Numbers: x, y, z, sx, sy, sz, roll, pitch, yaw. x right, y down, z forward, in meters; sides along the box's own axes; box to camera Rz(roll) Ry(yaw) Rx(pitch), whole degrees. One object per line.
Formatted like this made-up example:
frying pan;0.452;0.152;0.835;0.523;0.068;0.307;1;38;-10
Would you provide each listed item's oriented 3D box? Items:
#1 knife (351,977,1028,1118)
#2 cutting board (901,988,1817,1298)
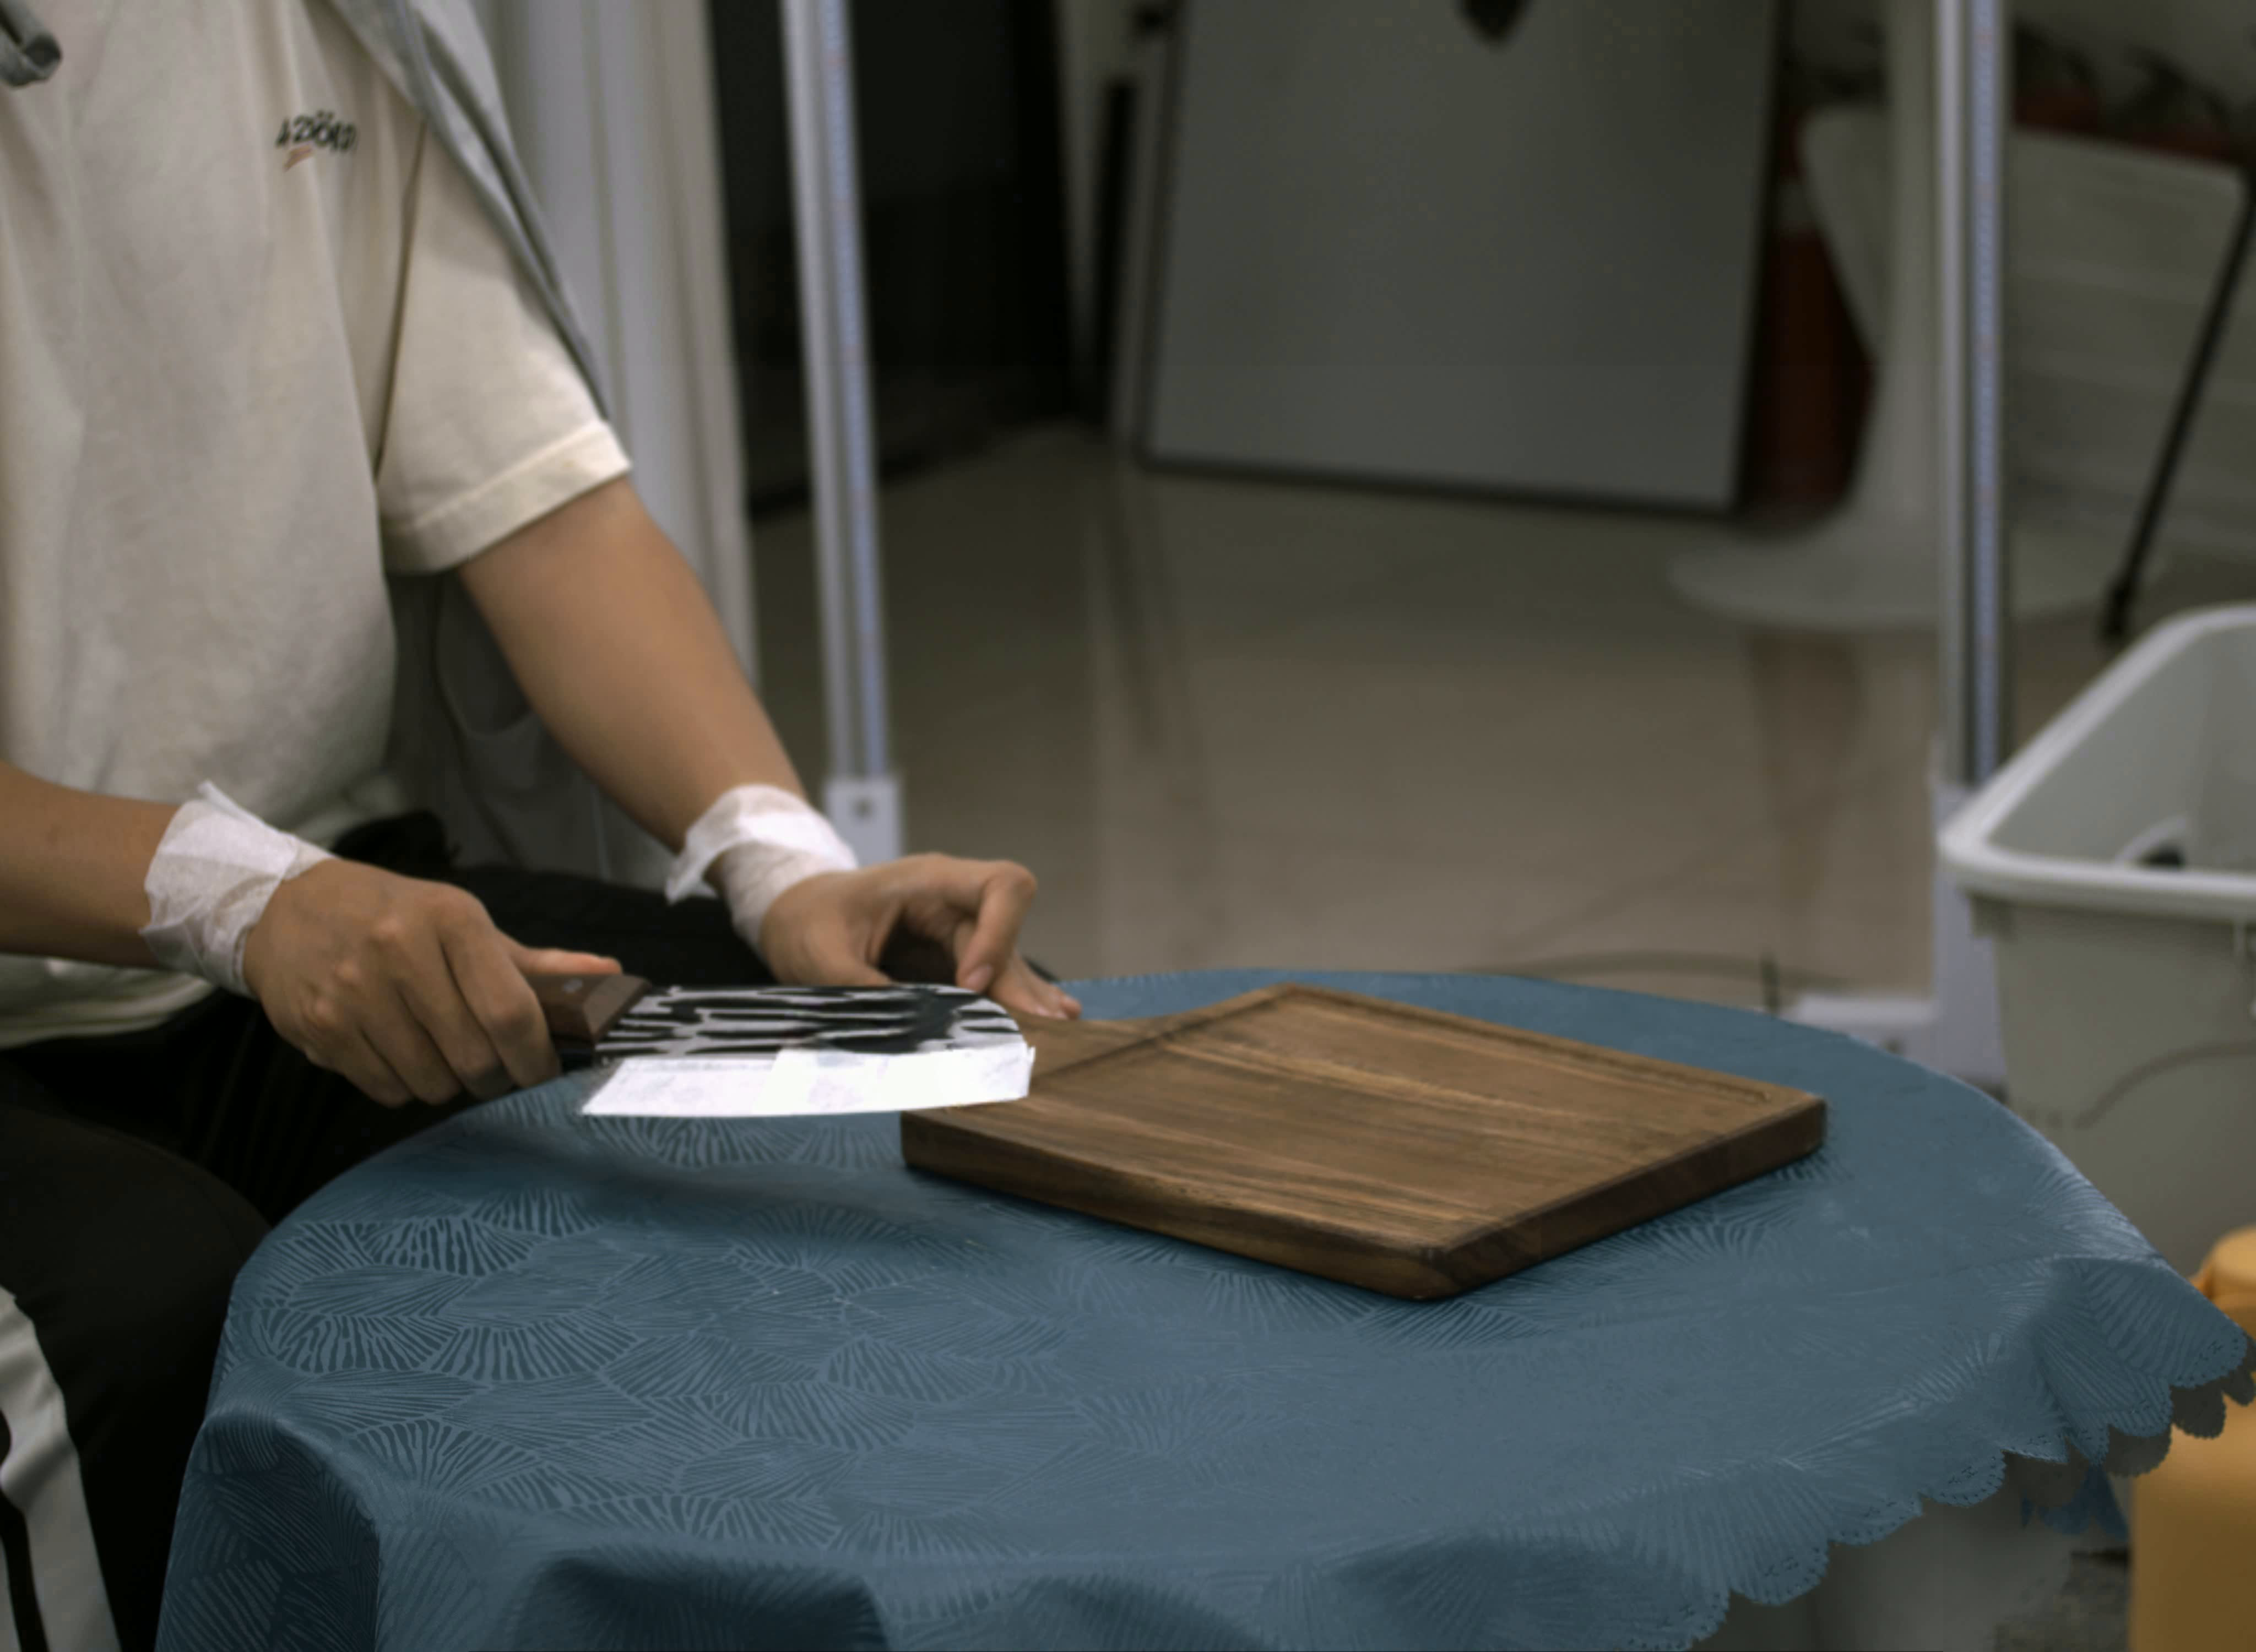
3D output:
knife;-0.152;0.076;1.808;0.301;0.024;0.068;-1;37;33
cutting board;0.041;0.095;1.826;0.197;0.023;0.355;-16;18;-41
